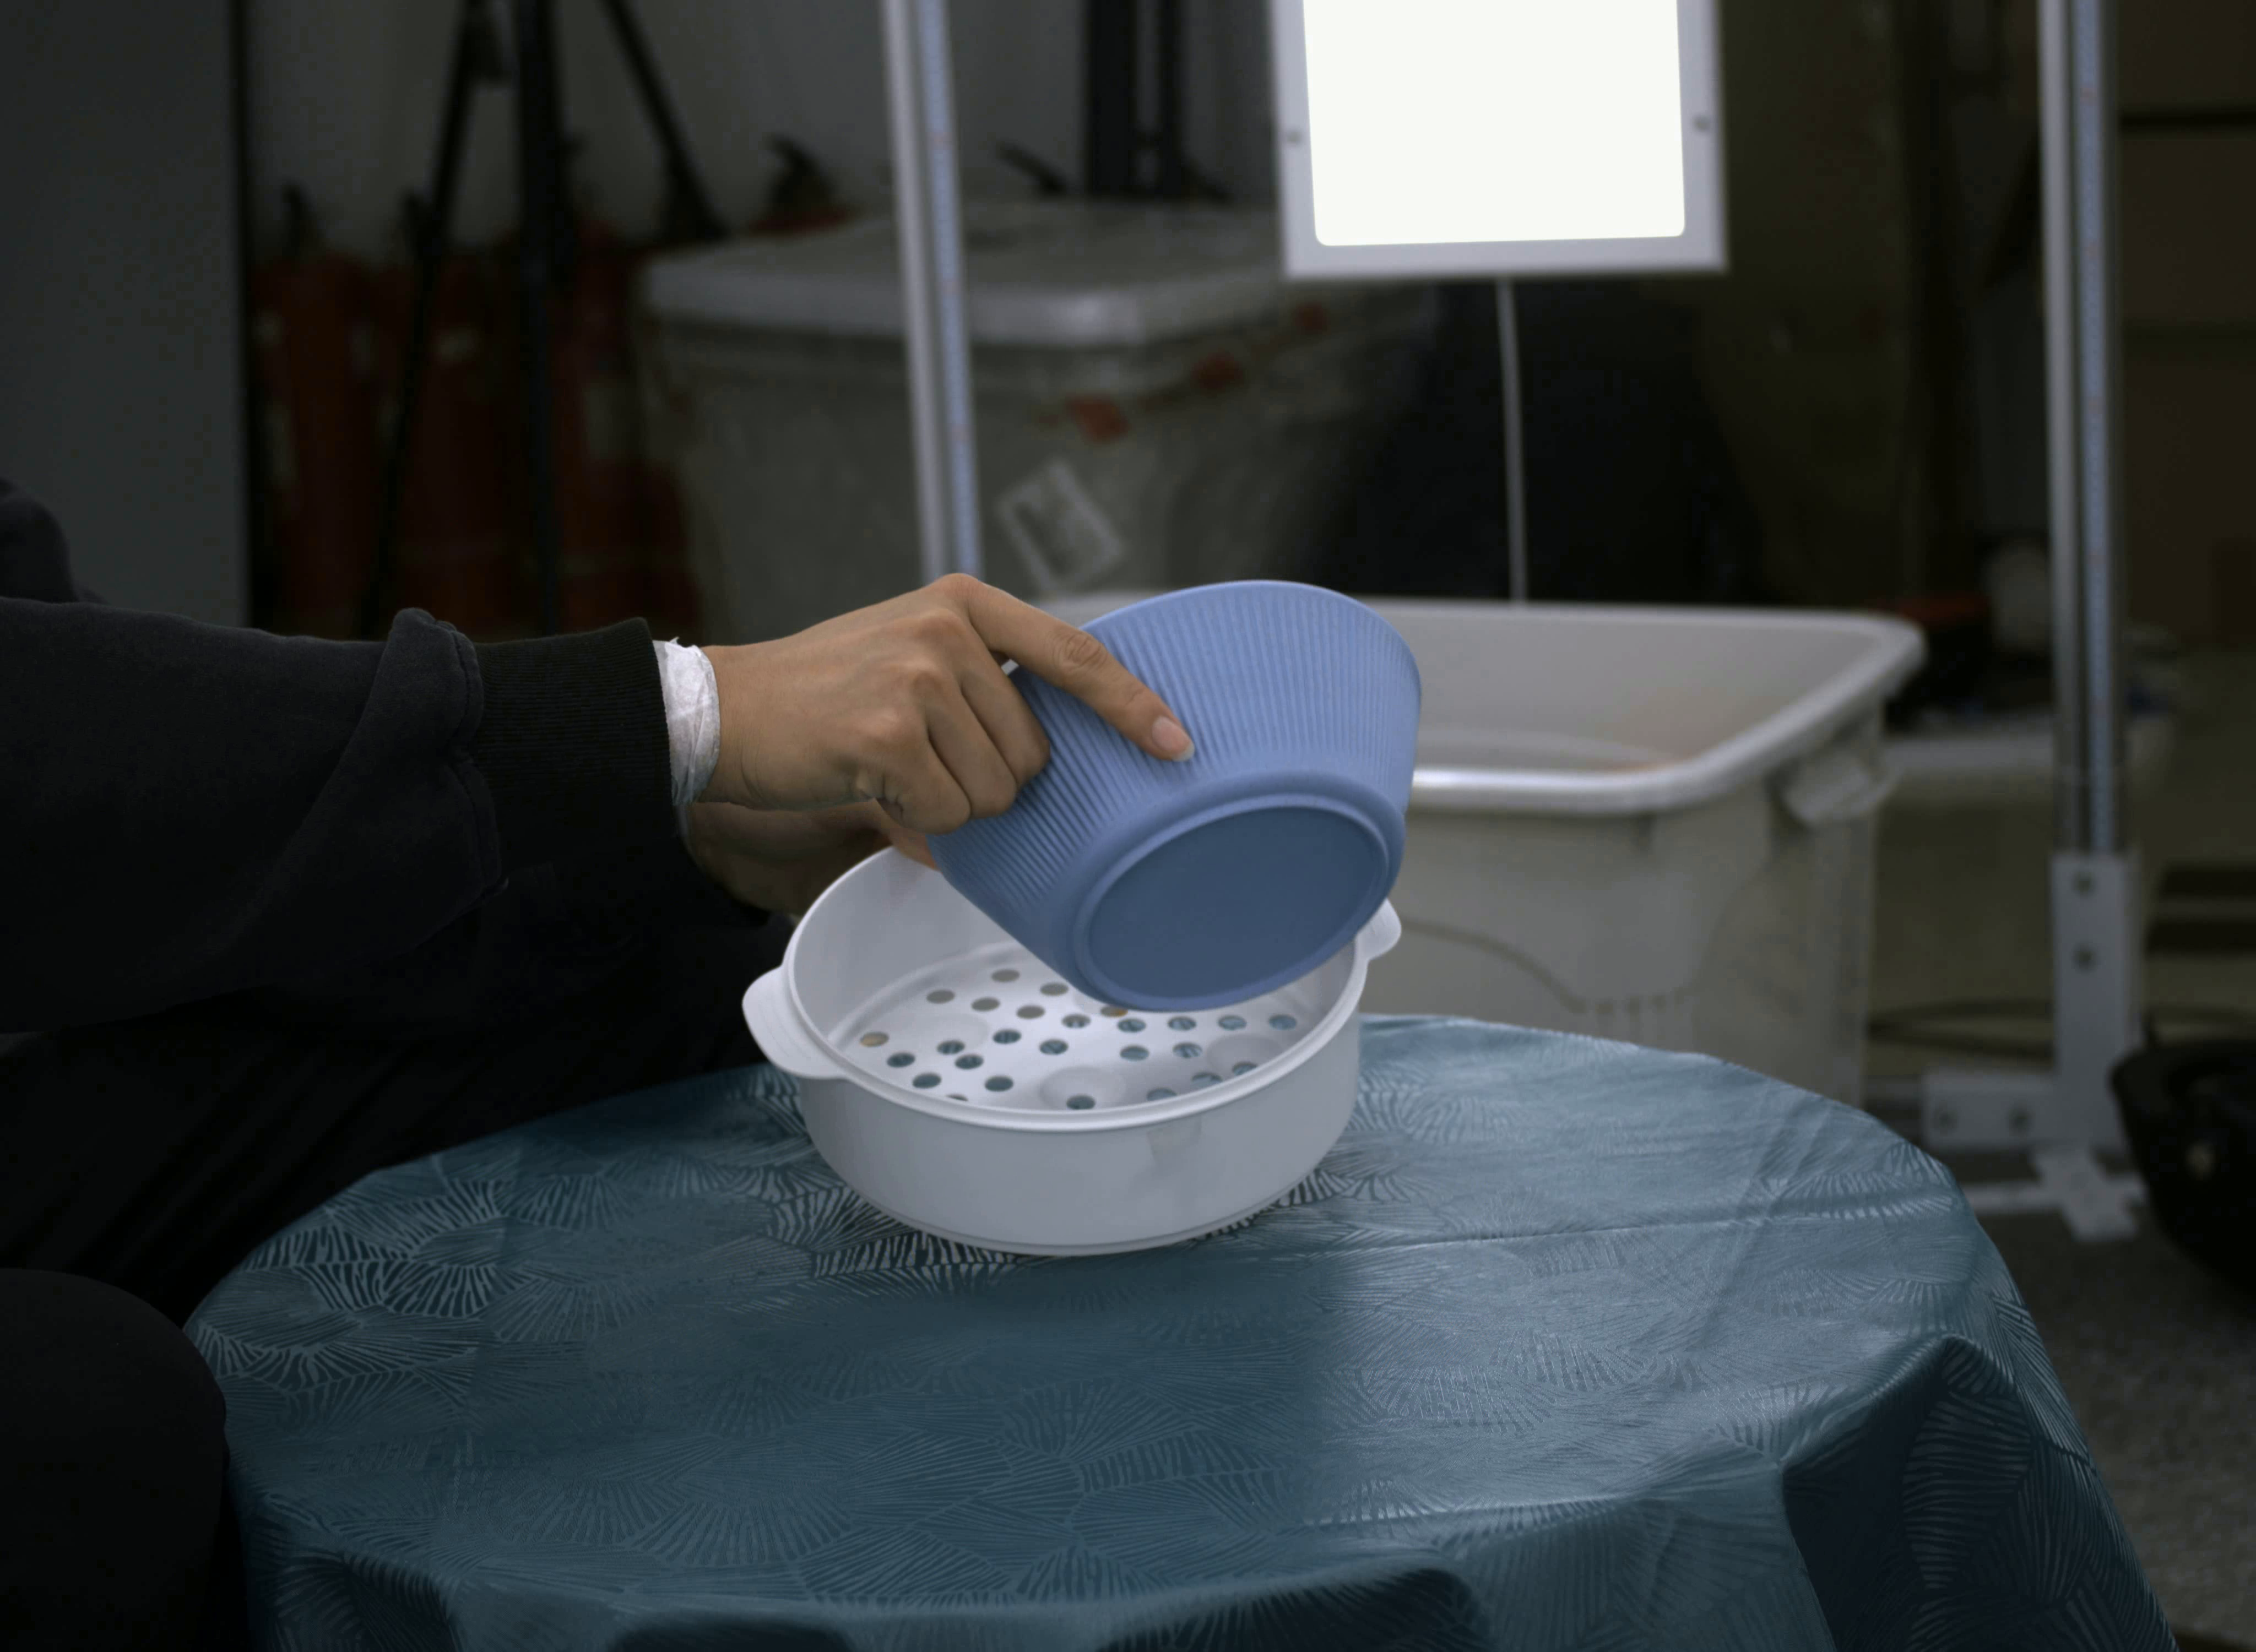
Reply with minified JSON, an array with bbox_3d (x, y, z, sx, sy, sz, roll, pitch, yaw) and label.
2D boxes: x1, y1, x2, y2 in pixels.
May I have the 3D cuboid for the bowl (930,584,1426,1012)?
[{"bbox_3d":[0.027,0.002,1.824,0.173,0.178,0.070,-8,53,-16],"label":"bowl"}]

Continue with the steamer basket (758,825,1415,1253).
[{"bbox_3d":[-0.013,0.069,1.898,0.227,0.069,0.204,-11,32,-15],"label":"steamer basket"}]
